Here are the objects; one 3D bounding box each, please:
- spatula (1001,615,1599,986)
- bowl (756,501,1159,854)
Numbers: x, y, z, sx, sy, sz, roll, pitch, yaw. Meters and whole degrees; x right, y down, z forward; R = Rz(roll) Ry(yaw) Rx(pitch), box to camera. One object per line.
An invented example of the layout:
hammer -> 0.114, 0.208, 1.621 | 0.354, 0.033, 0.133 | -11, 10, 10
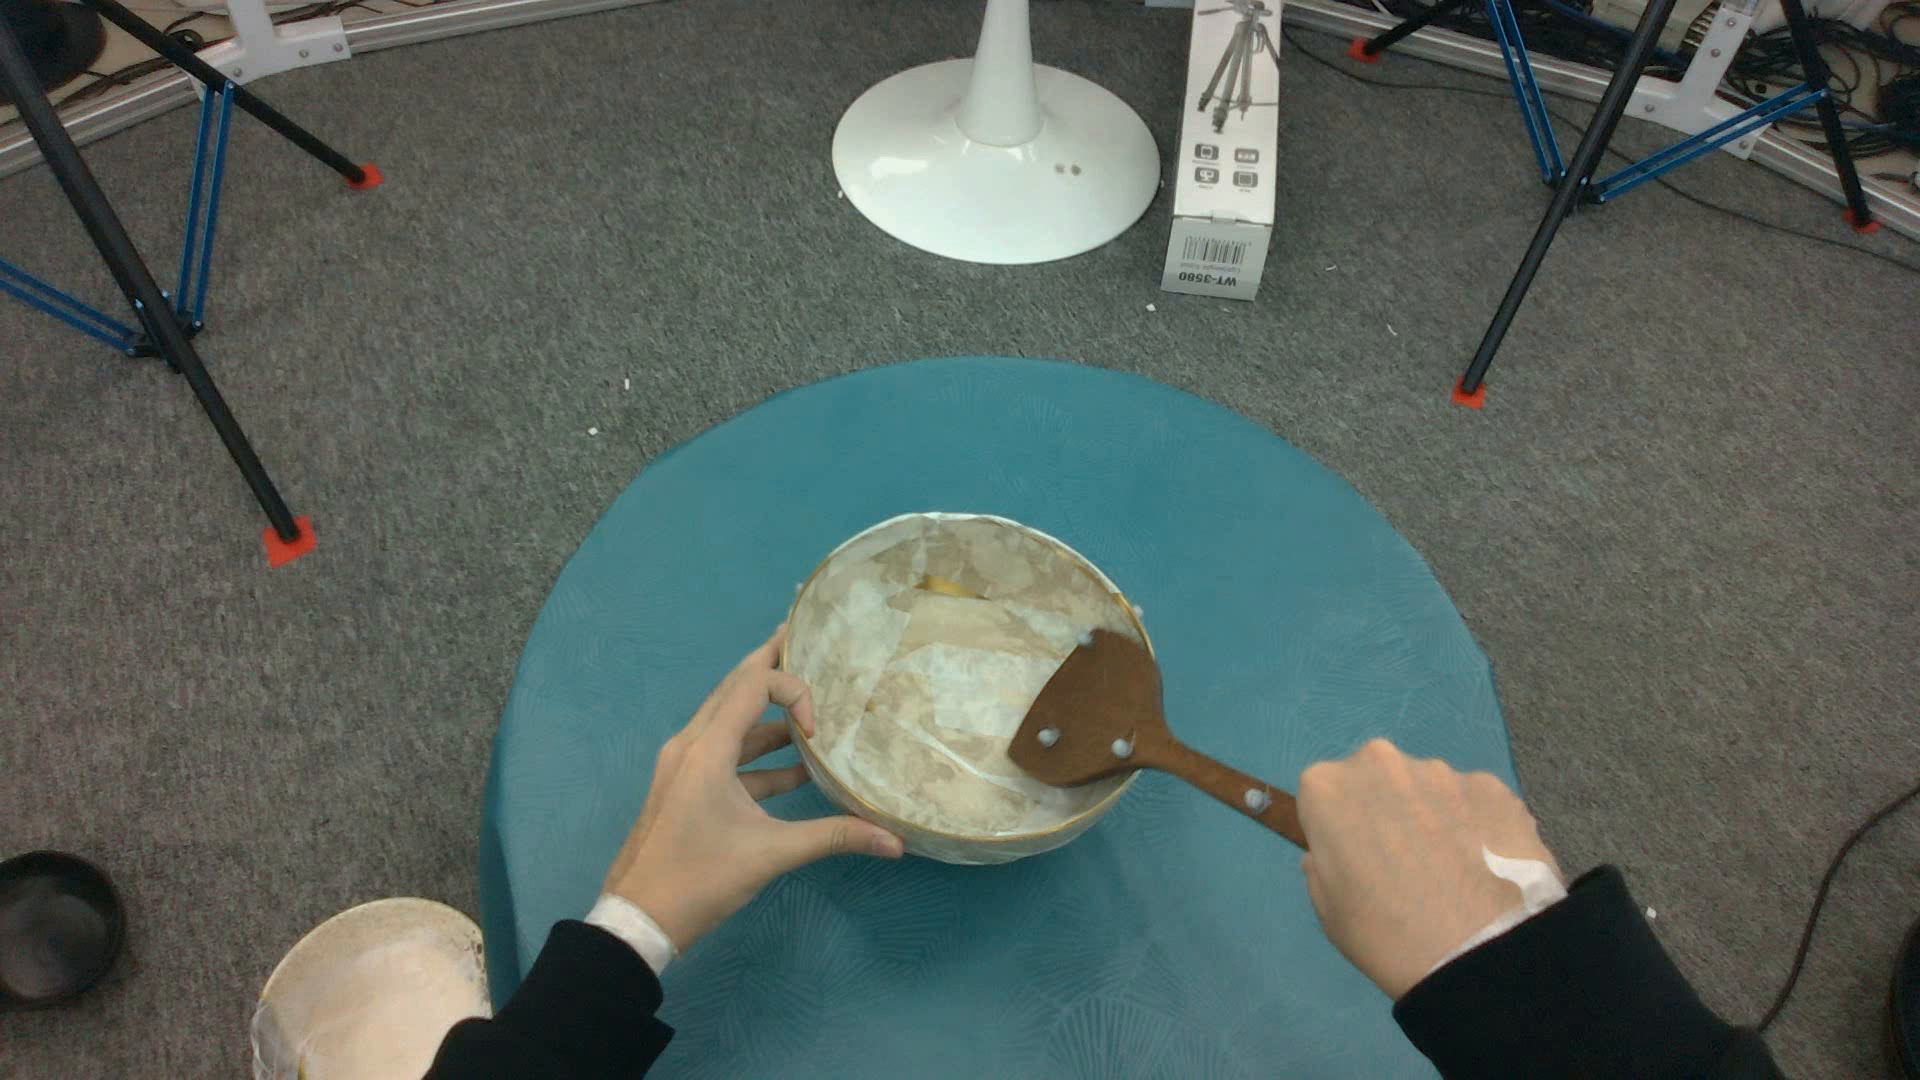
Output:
spatula -> 0.120, 0.105, 0.602 | 0.016, 0.385, 0.096 | 39, 82, -22
bowl -> -0.007, 0.087, 0.741 | 0.215, 0.094, 0.215 | 7, 52, -9
